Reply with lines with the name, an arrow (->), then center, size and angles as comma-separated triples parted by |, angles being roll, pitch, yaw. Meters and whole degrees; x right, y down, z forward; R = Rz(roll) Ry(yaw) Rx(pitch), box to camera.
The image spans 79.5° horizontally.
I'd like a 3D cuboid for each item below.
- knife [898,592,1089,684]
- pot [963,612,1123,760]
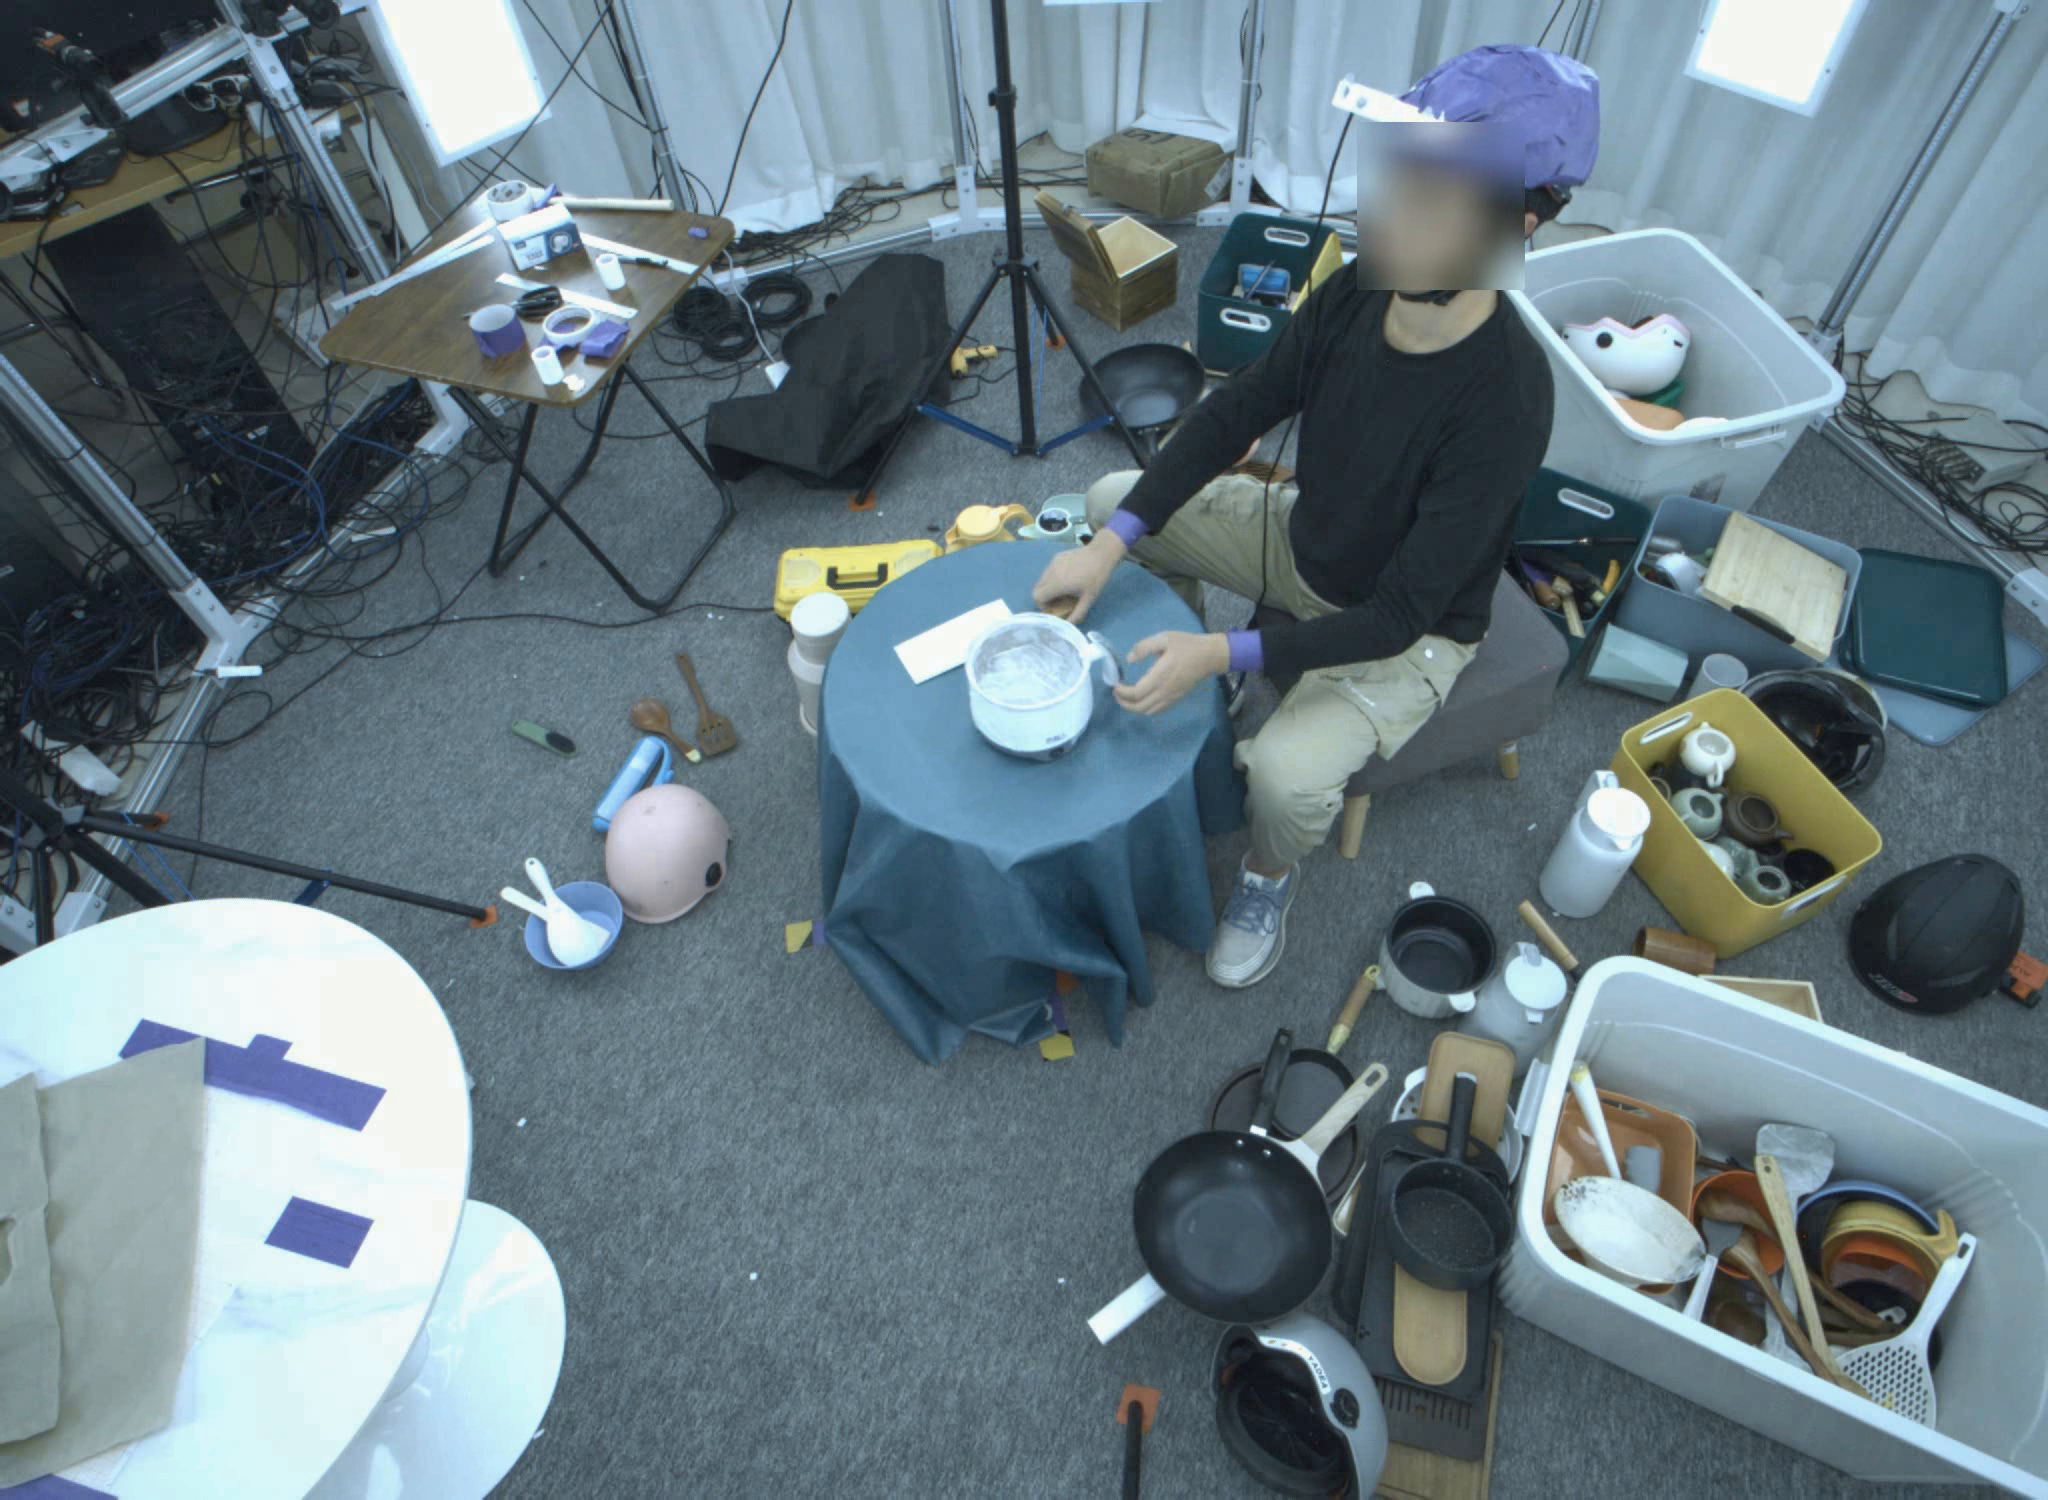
knife -> -0.050, -0.192, 1.914 | 0.308, 0.021, 0.091 | -25, 58, -13
pot -> 0.033, -0.100, 1.767 | 0.235, 0.138, 0.175 | -23, 57, -12
